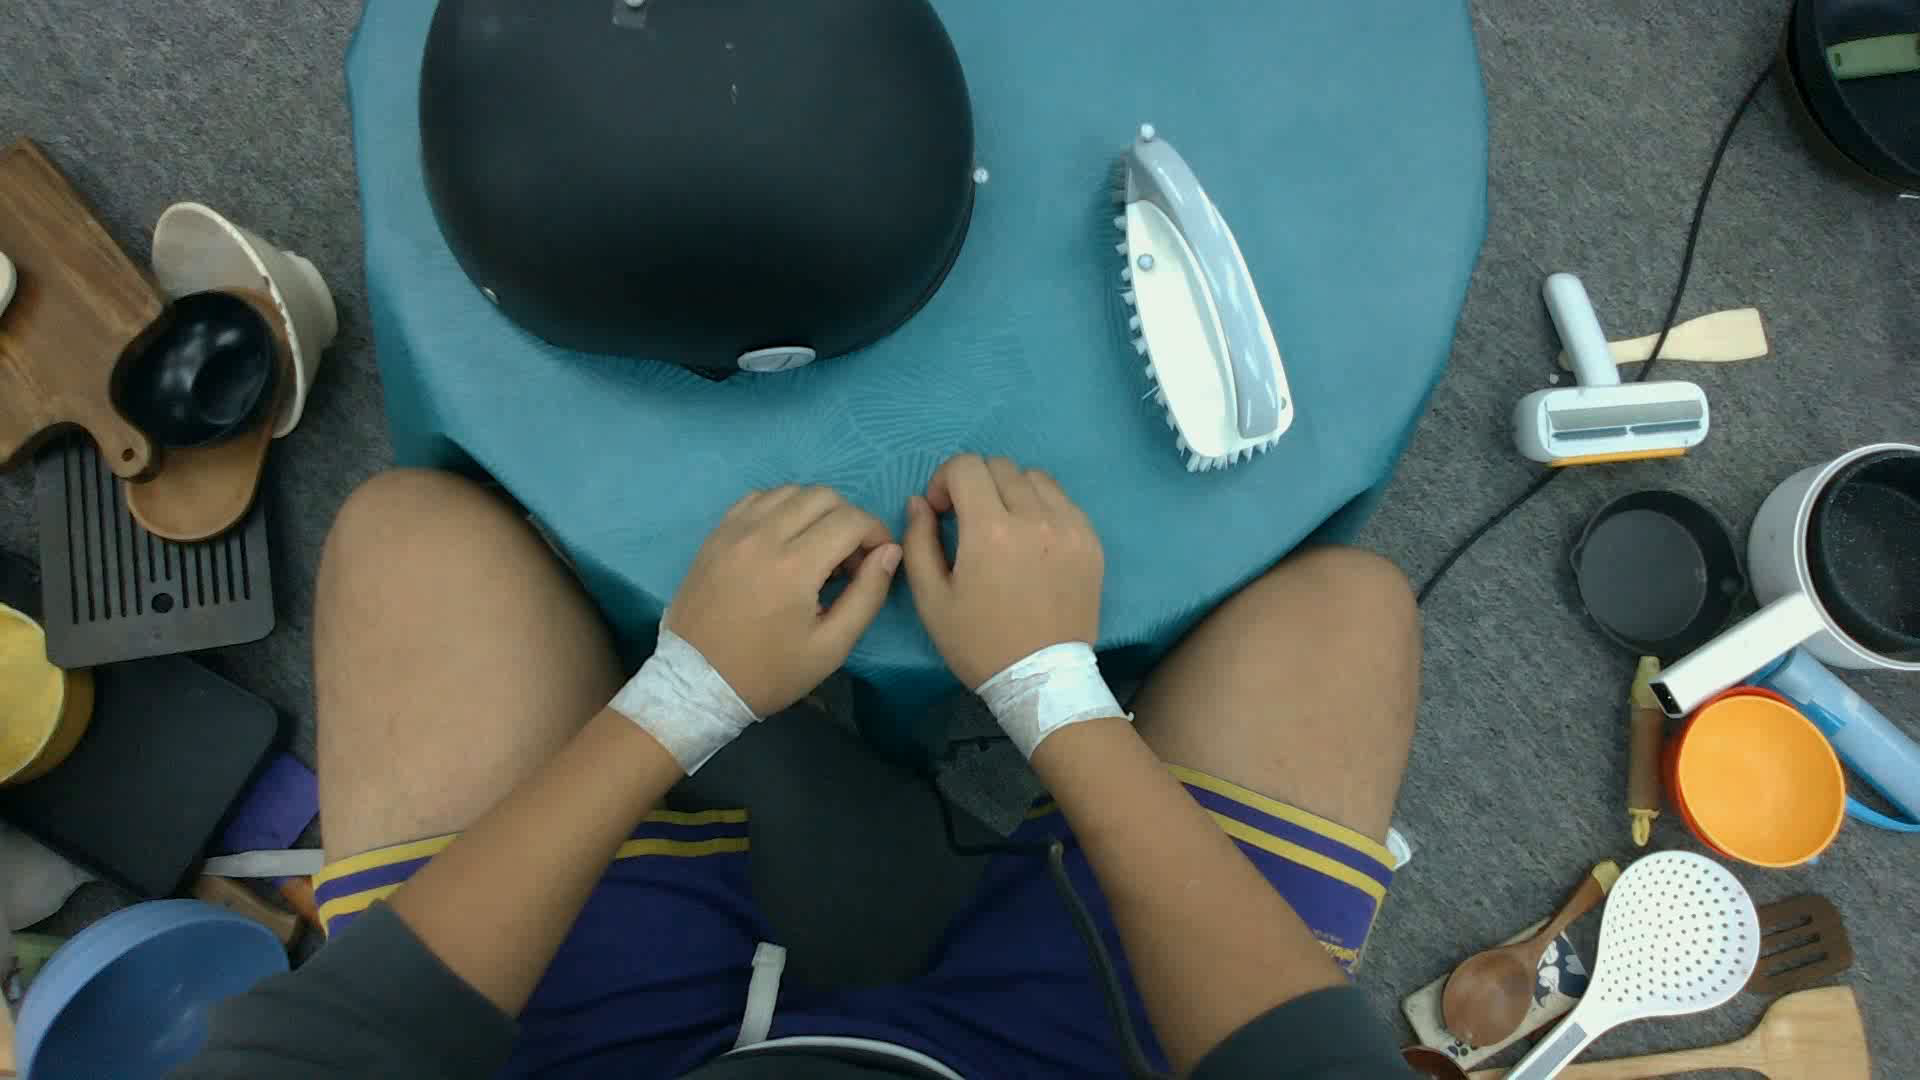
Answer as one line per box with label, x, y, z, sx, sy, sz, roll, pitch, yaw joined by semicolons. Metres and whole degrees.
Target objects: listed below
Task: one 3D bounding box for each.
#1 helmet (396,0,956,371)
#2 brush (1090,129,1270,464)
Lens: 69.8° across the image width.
helmet;-0.129;-0.203;0.635;0.273;0.166;0.230;4;82;-7
brush;0.106;-0.131;0.682;0.061;0.094;0.175;-18;82;-9
